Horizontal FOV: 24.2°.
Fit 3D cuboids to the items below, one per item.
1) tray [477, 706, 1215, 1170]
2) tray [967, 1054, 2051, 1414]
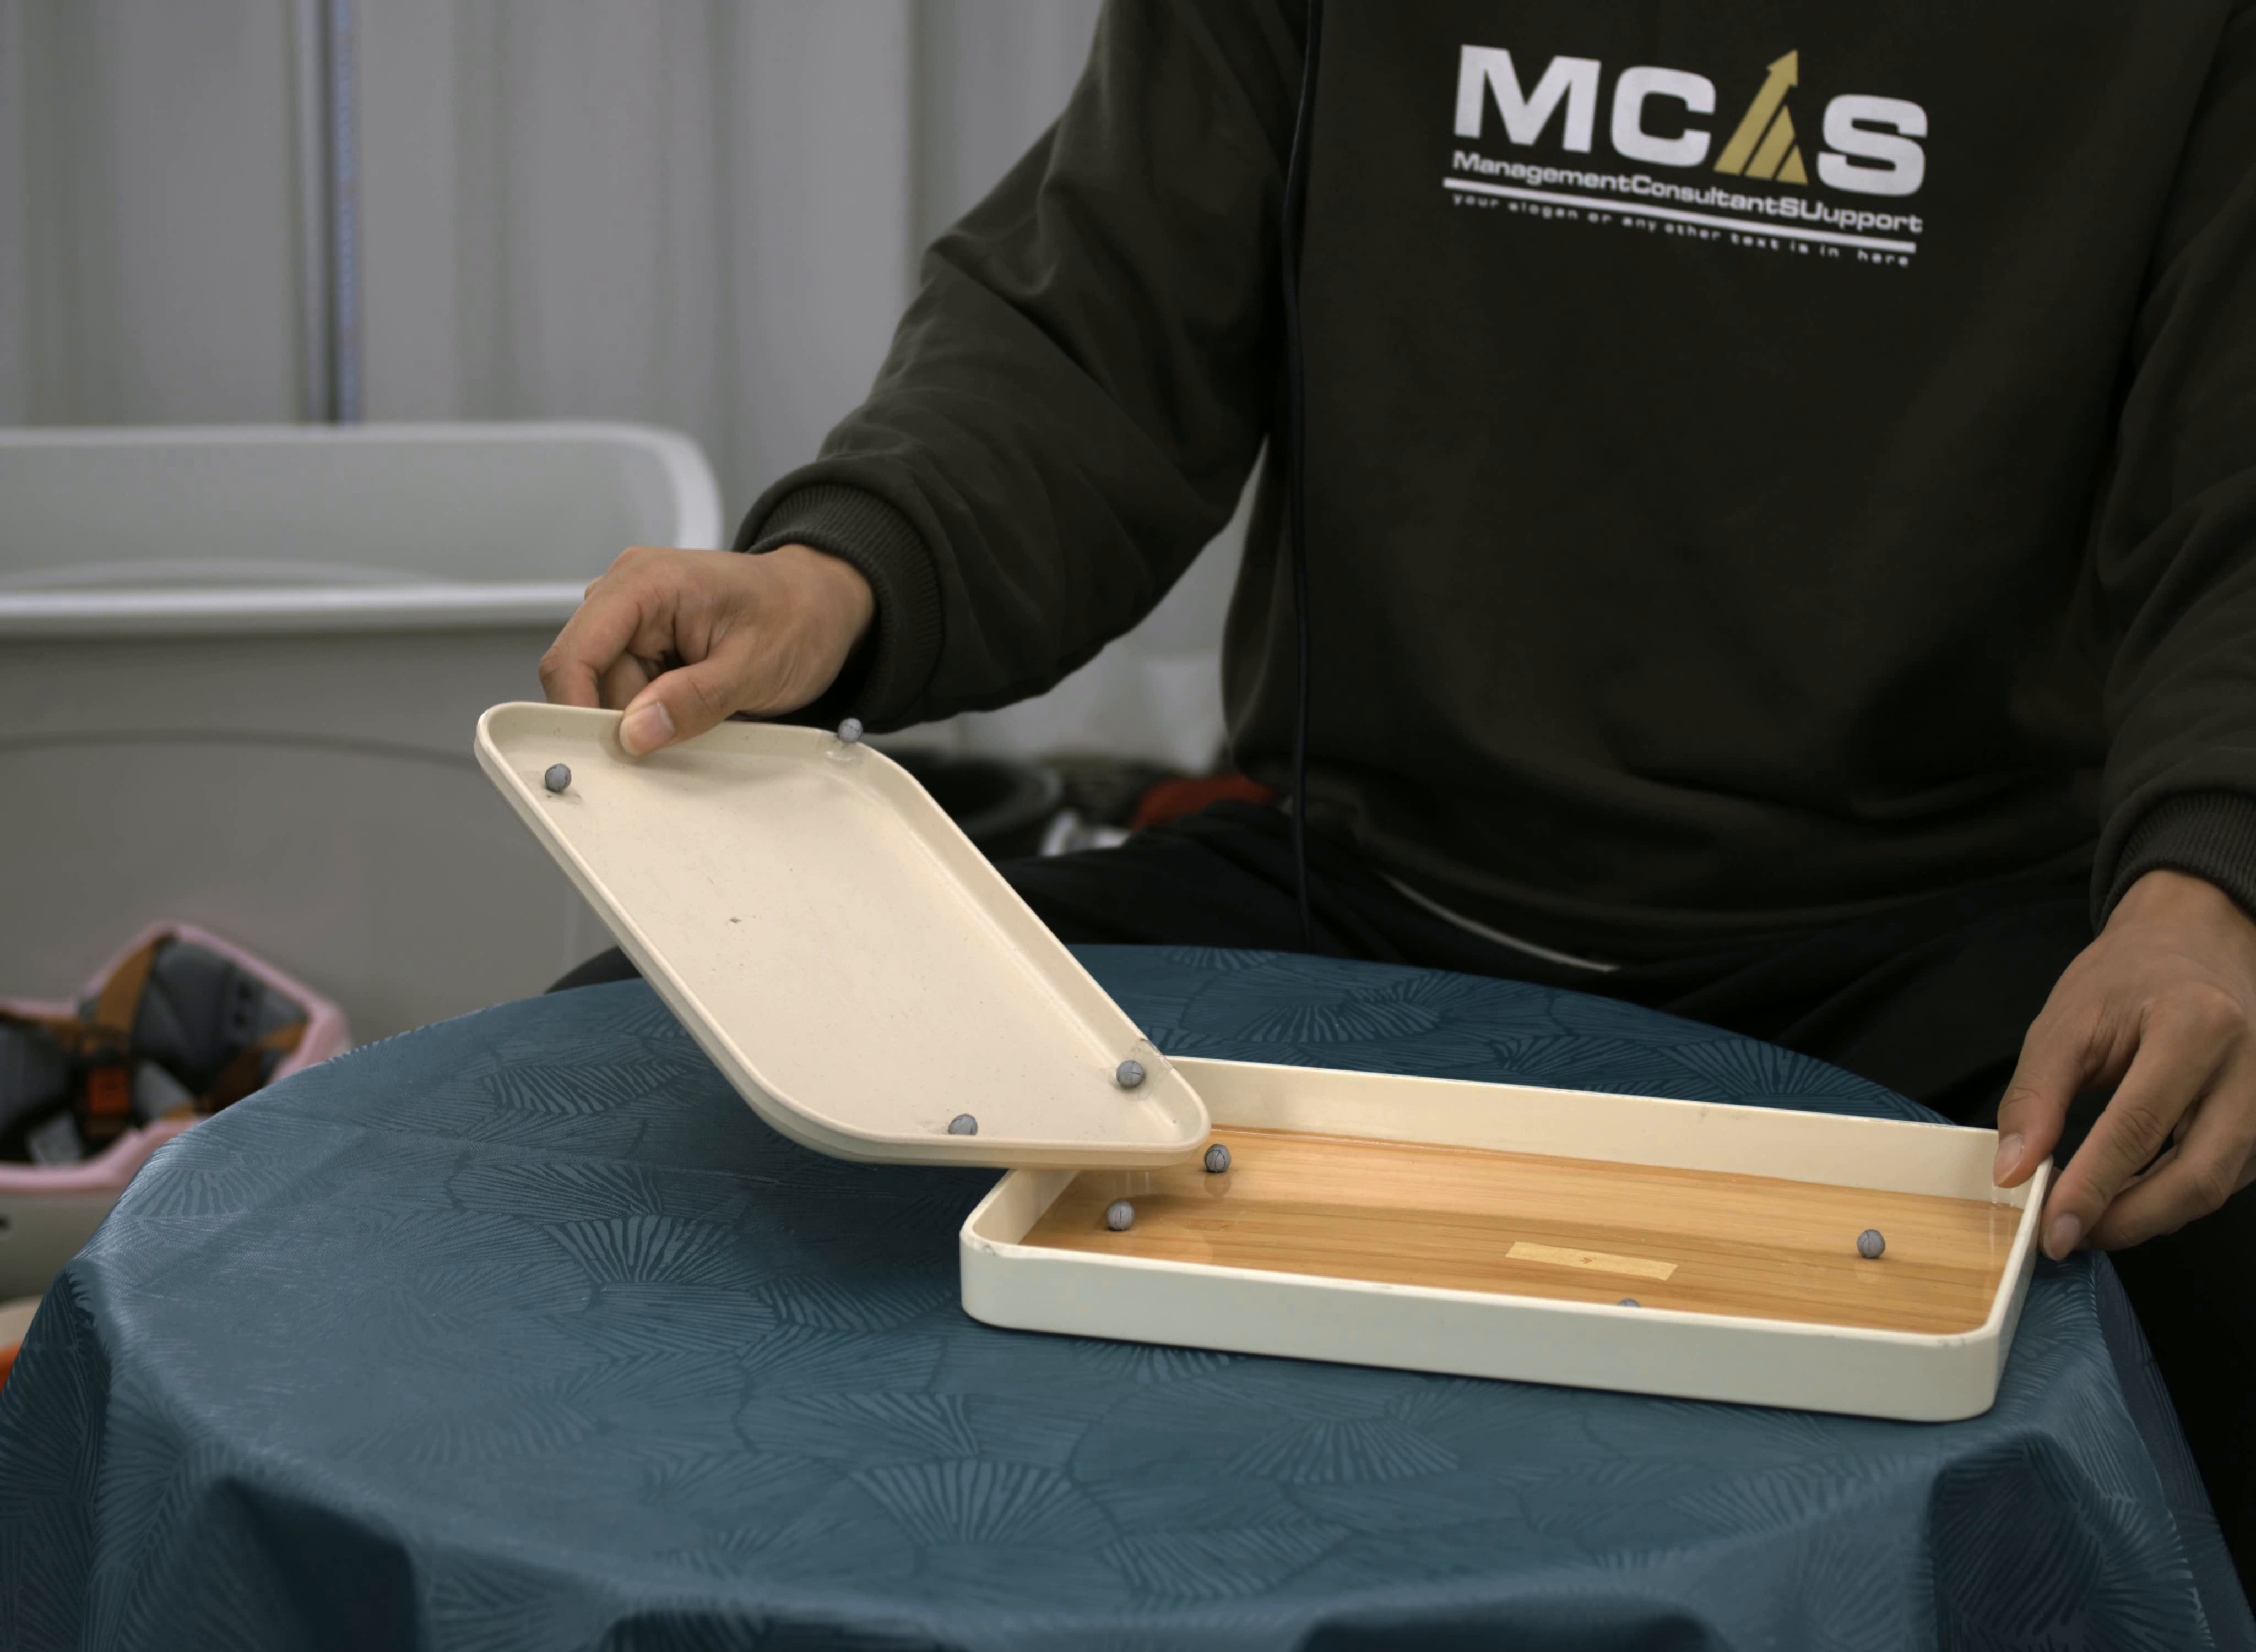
[{"bbox_3d":[-0.090,0.035,1.632,0.172,0.017,0.236,4,31,-40],"label":"tray"},{"bbox_3d":[0.117,0.118,1.566,0.298,0.027,0.191,5,15,13],"label":"tray"}]
